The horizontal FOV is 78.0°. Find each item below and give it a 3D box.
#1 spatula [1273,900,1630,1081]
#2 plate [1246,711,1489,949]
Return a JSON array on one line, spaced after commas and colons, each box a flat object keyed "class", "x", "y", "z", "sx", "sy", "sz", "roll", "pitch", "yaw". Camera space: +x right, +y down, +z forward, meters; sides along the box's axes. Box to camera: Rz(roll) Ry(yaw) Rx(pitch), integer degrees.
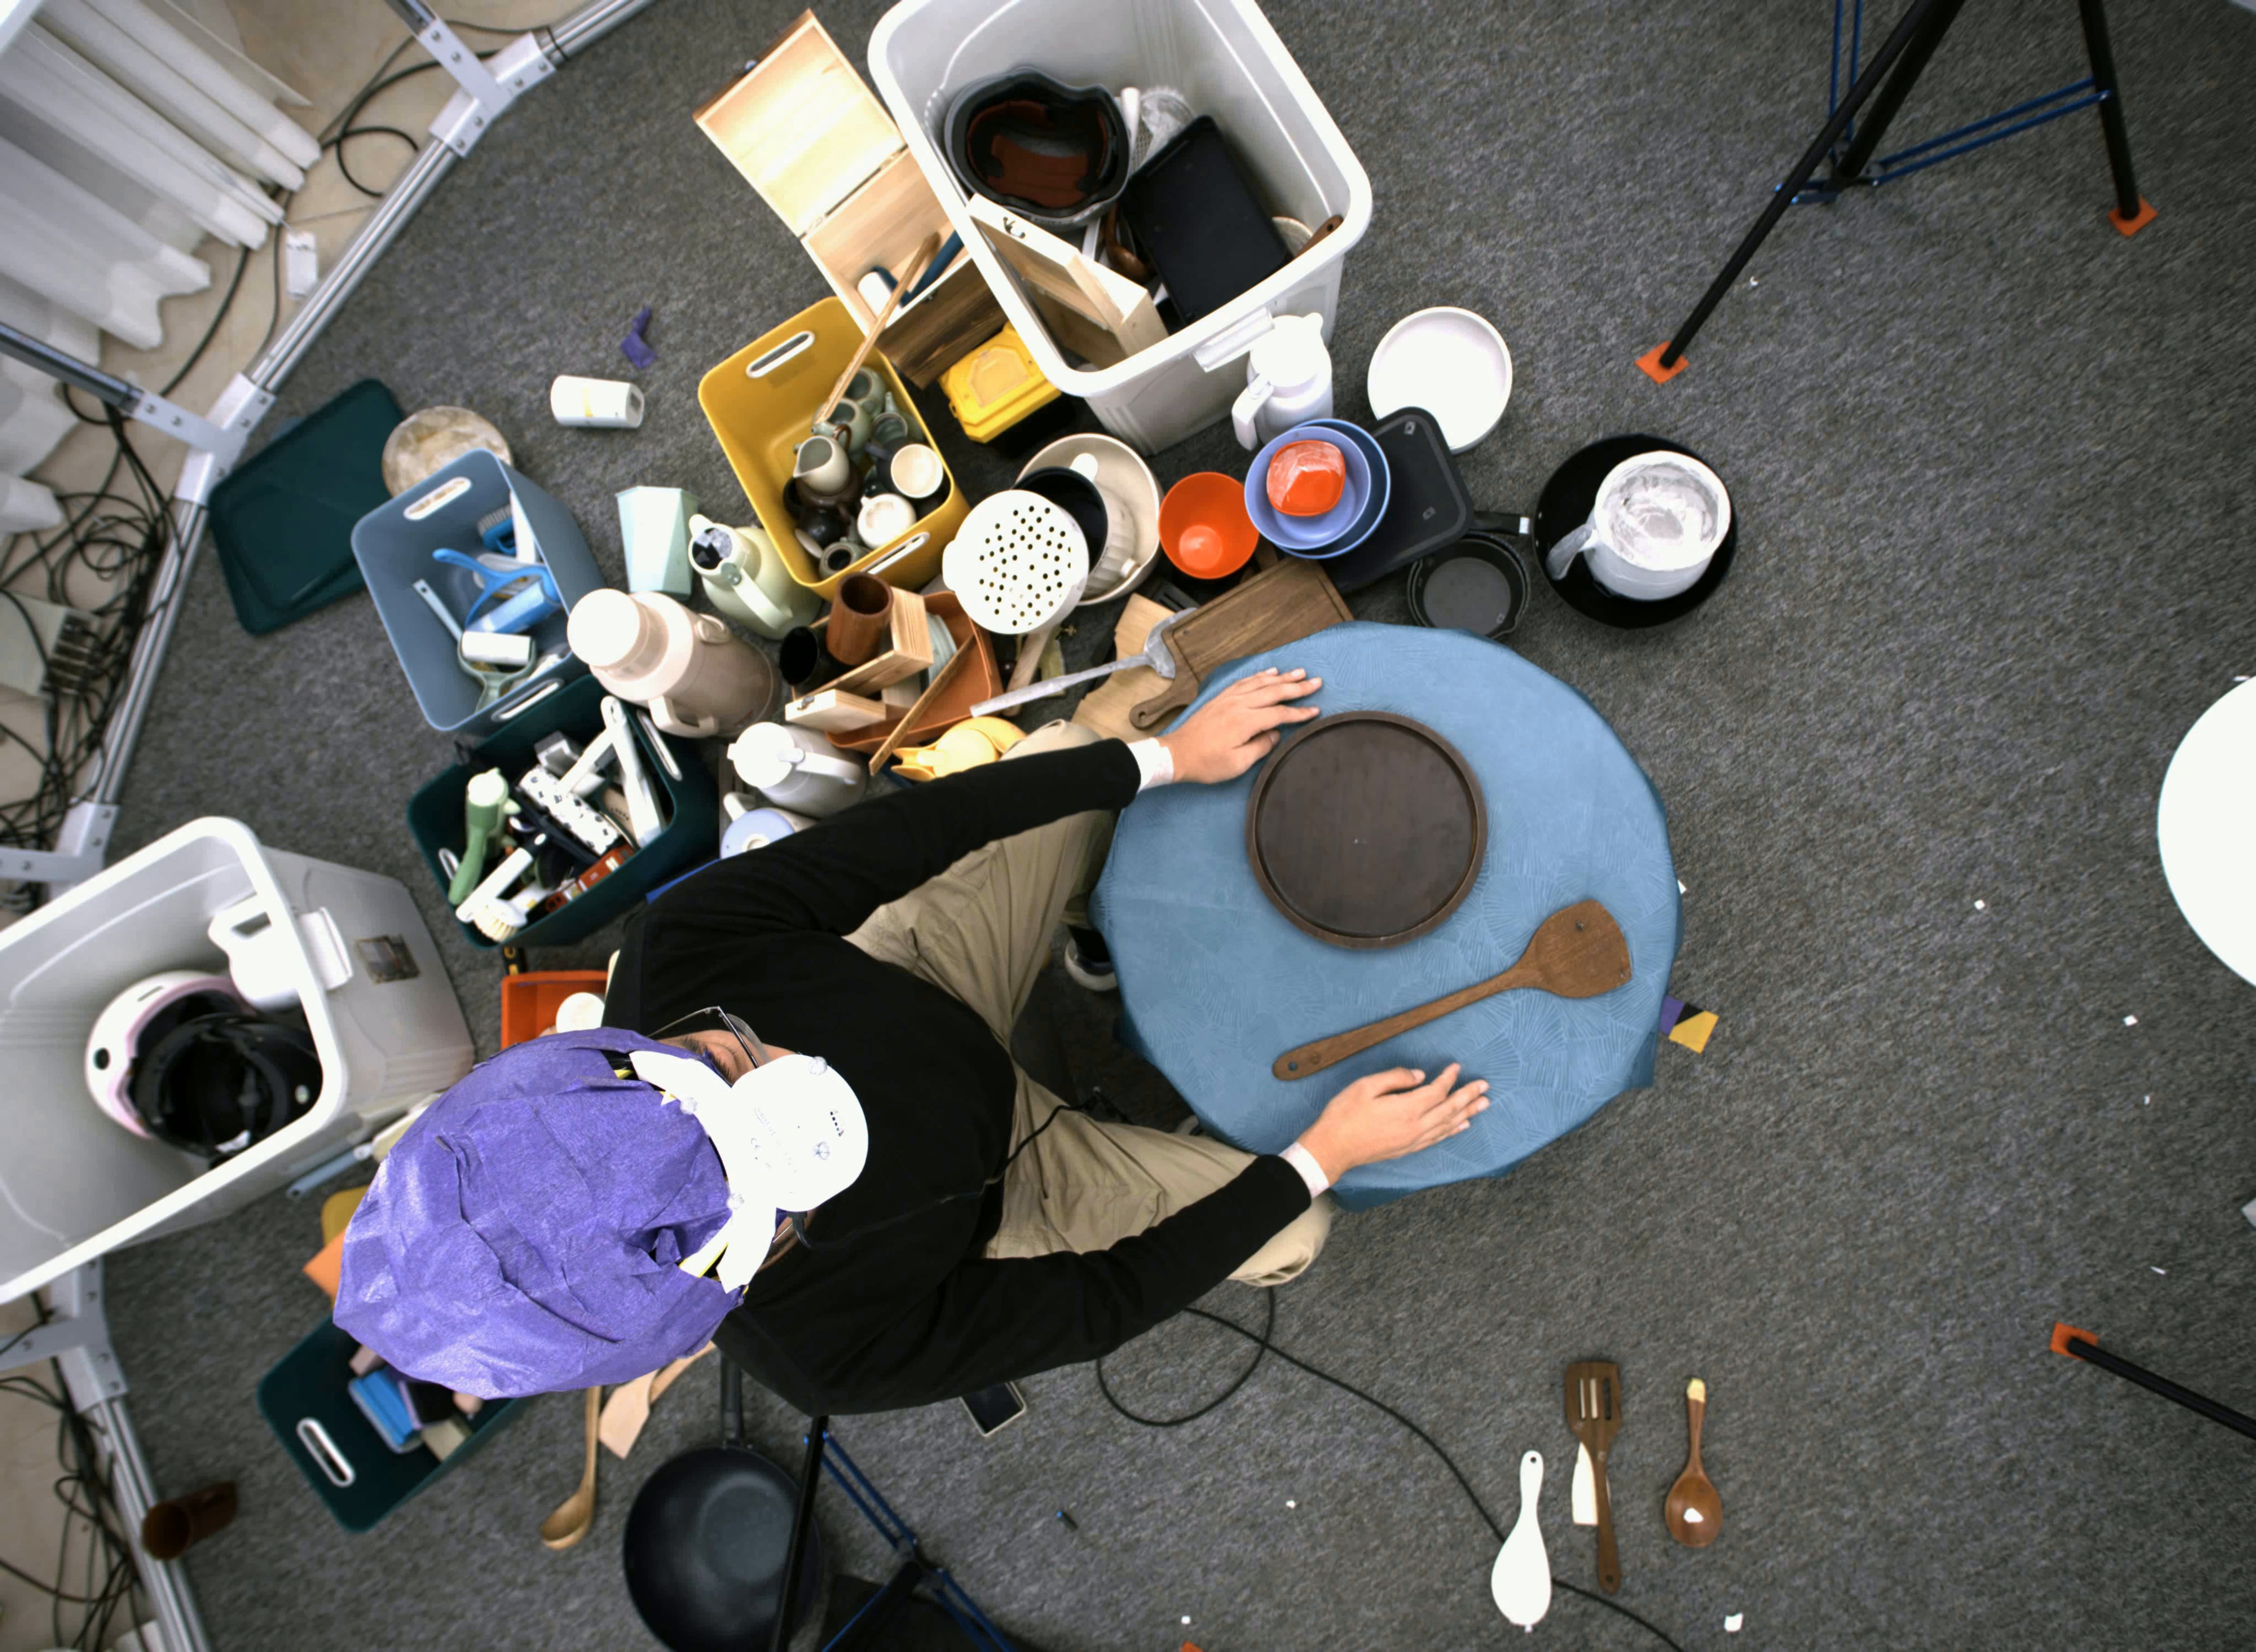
[{"class": "spatula", "x": 0.330, "y": 0.185, "z": 1.435, "sx": 0.388, "sy": 0.016, "sz": 0.095, "roll": -23, "pitch": 82, "yaw": 9}, {"class": "plate", "x": 0.251, "y": 0.003, "z": 1.455, "sx": 0.256, "sy": 0.029, "sz": 0.254, "roll": -1, "pitch": 88, "yaw": 10}]
